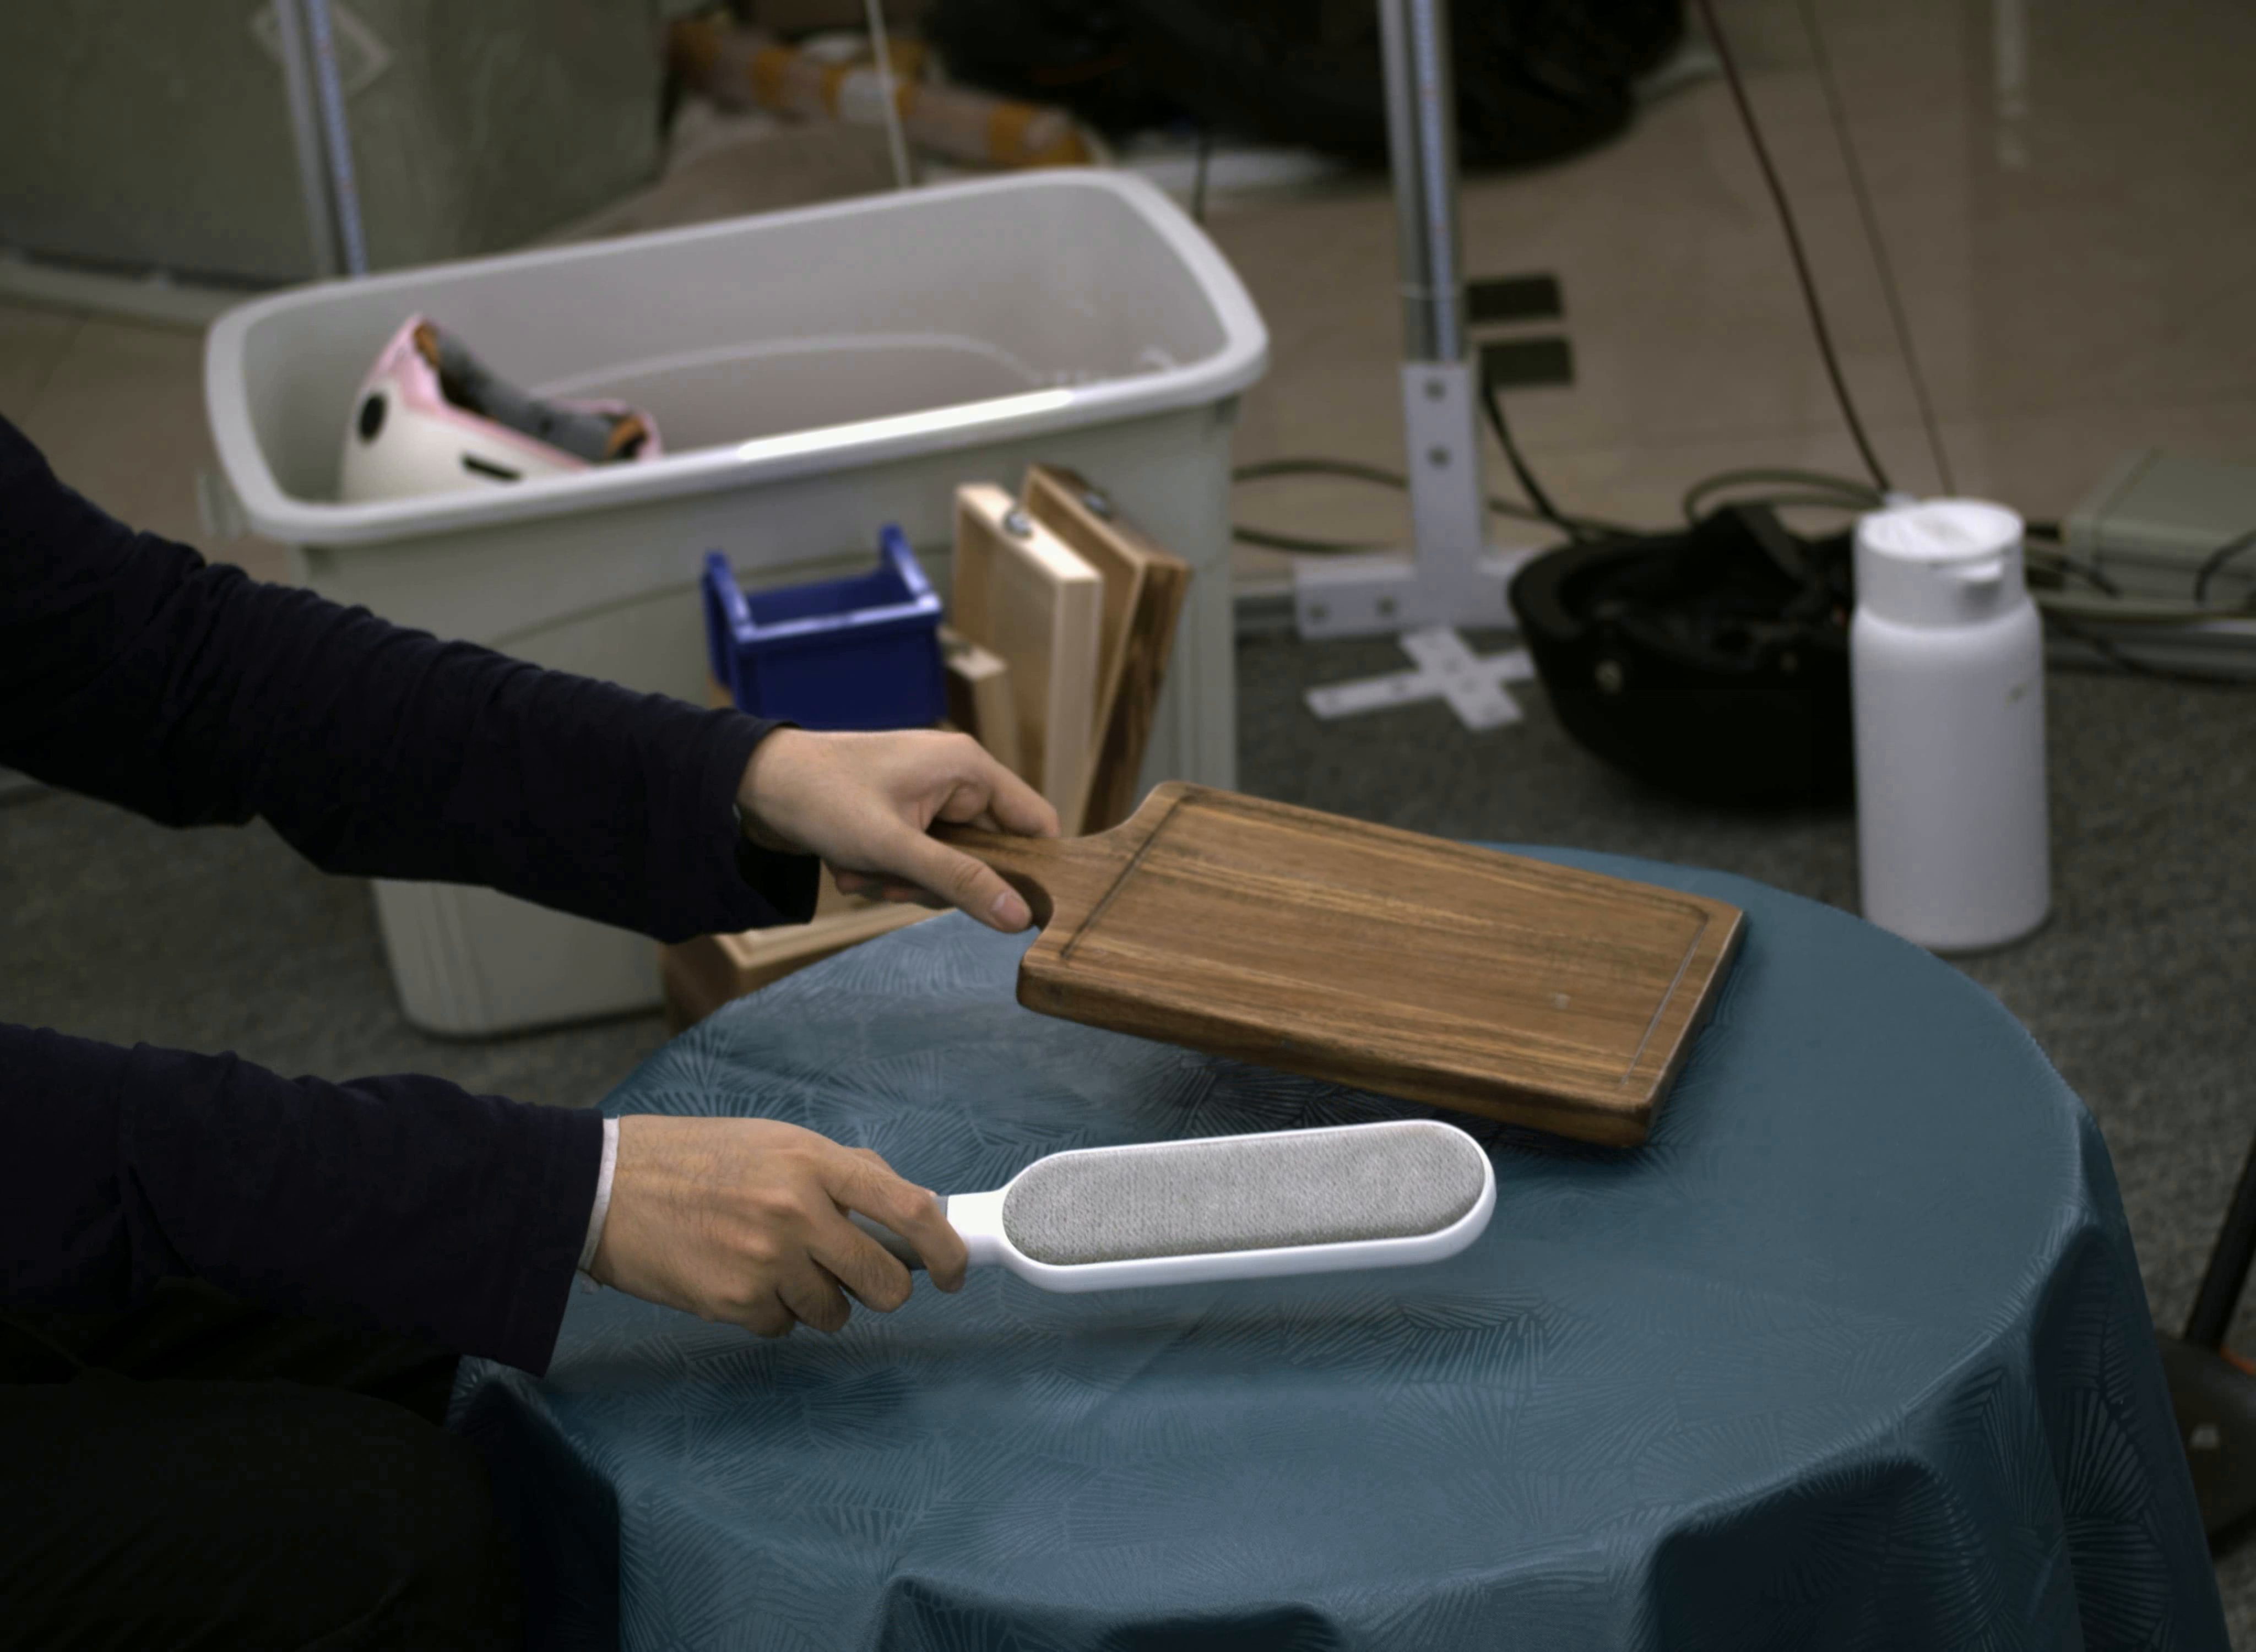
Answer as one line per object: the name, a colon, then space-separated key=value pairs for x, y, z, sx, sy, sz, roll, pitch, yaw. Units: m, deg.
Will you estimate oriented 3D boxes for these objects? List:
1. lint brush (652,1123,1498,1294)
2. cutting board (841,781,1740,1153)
lint brush: x=-0.020 y=0.141 z=2.041 sx=0.308 sy=0.021 sz=0.059 roll=-5 pitch=55 yaw=7
cutting board: x=0.055 y=0.042 z=2.237 sx=0.351 sy=0.023 sz=0.198 roll=12 pitch=27 yaw=12
